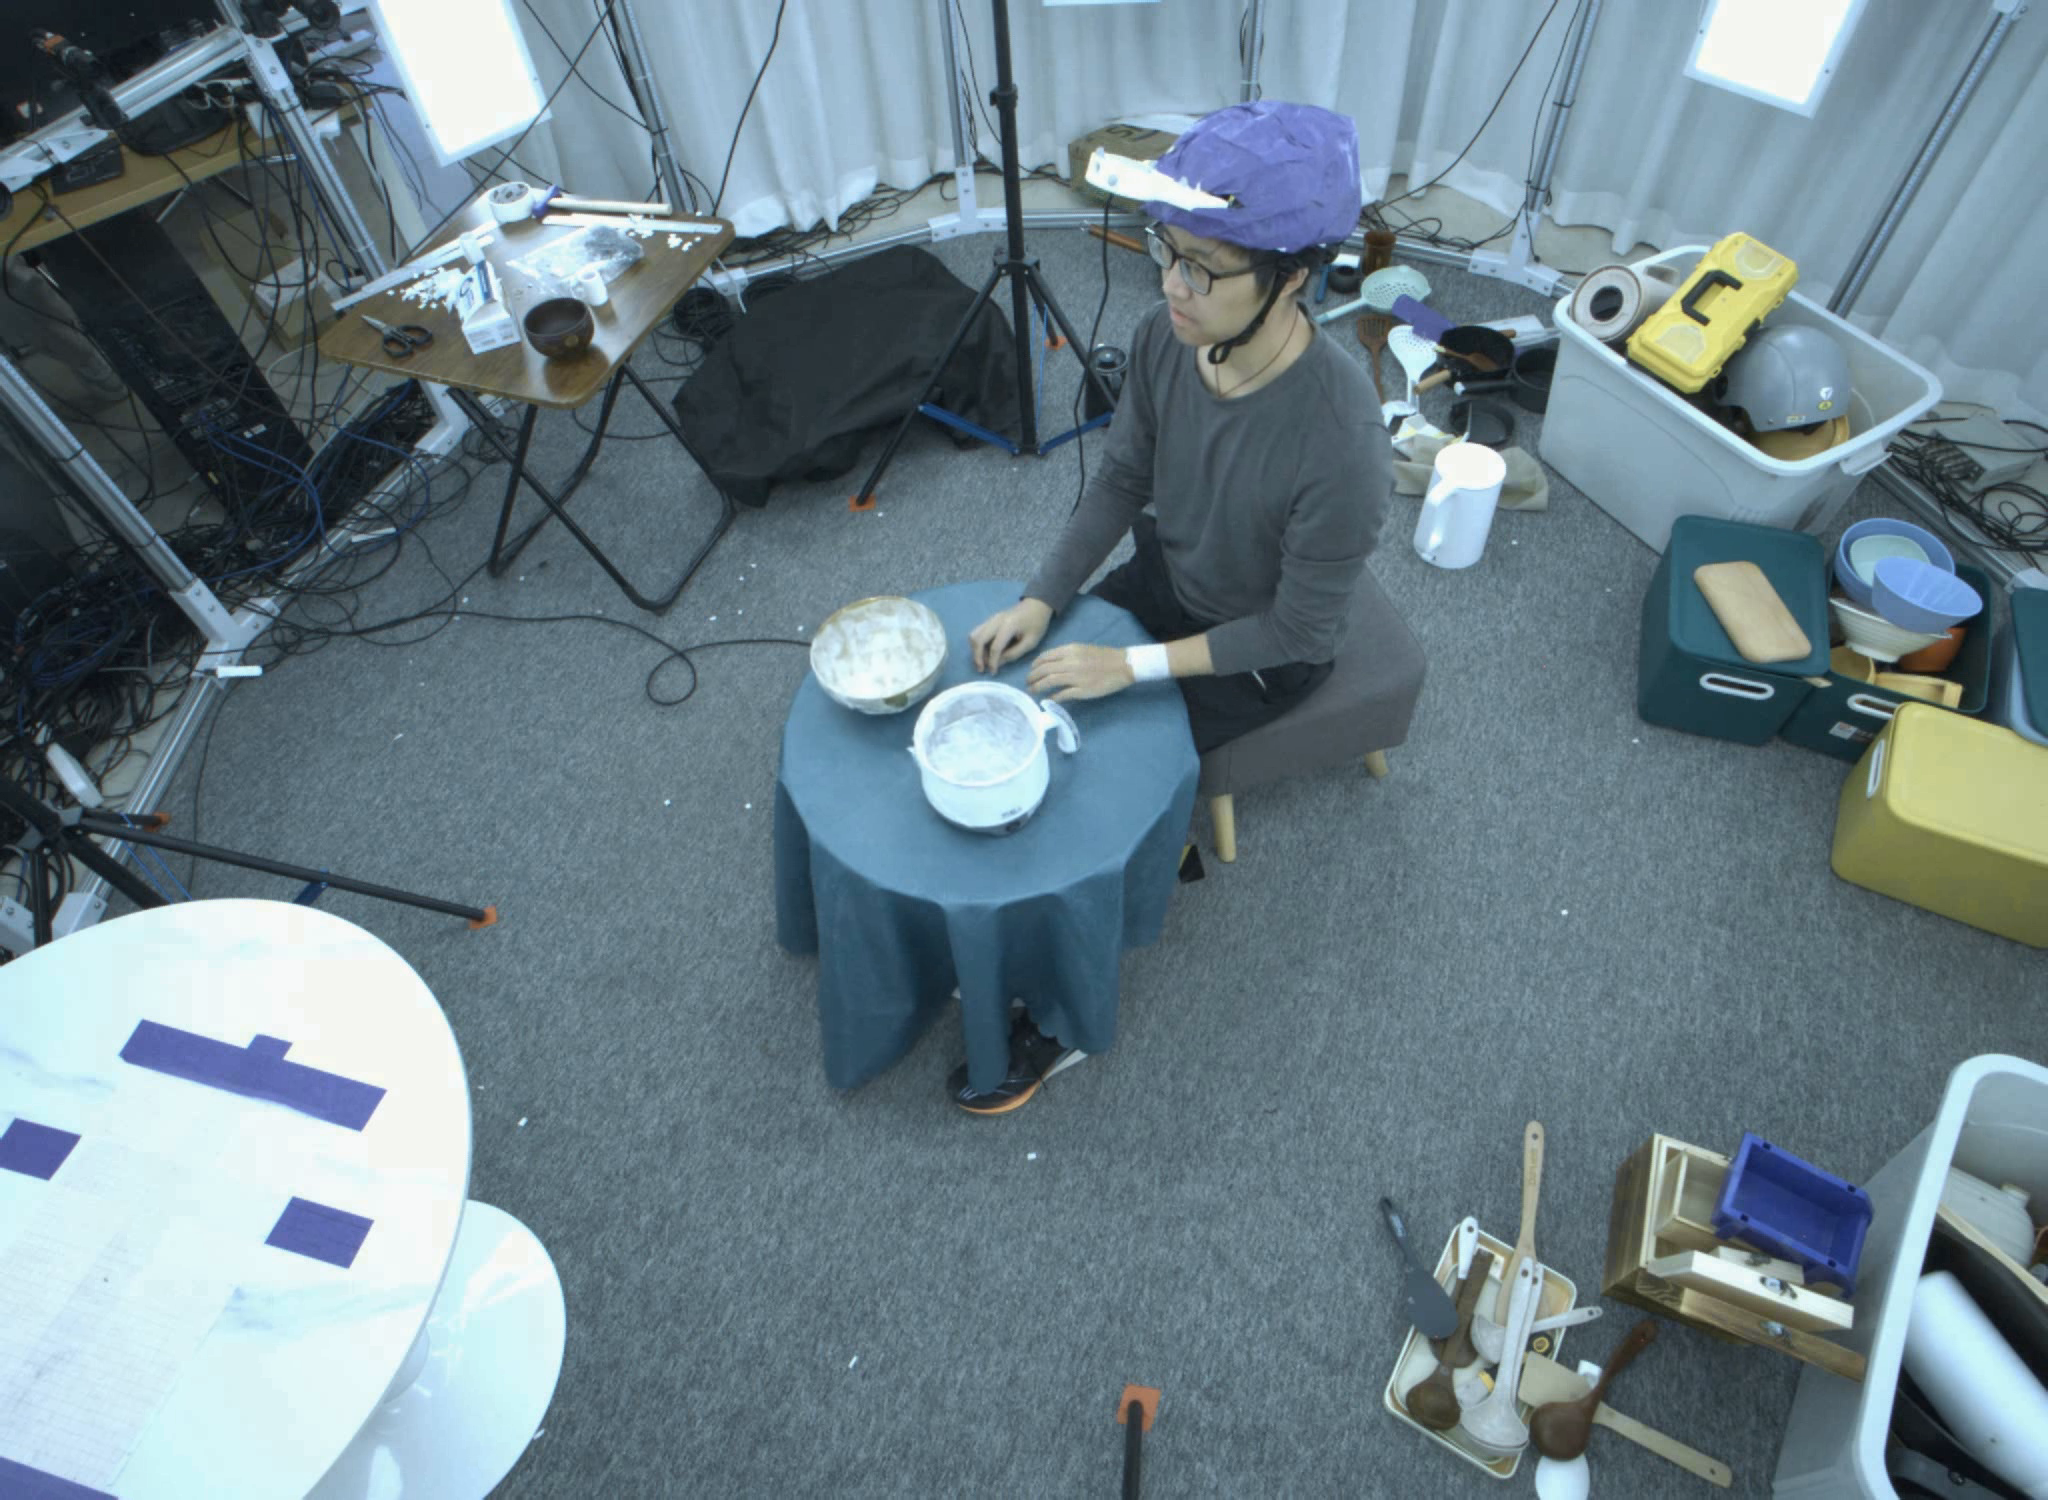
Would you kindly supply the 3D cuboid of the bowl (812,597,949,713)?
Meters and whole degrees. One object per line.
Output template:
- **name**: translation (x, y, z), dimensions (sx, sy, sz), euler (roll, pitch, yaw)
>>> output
- **bowl**: translation (-0.207, -0.128, 1.834), dimensions (0.214, 0.095, 0.212), euler (0, 52, 2)

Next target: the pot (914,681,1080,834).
- **pot**: translation (-0.032, 0.002, 1.710), dimensions (0.235, 0.138, 0.175), euler (-24, 57, -15)
